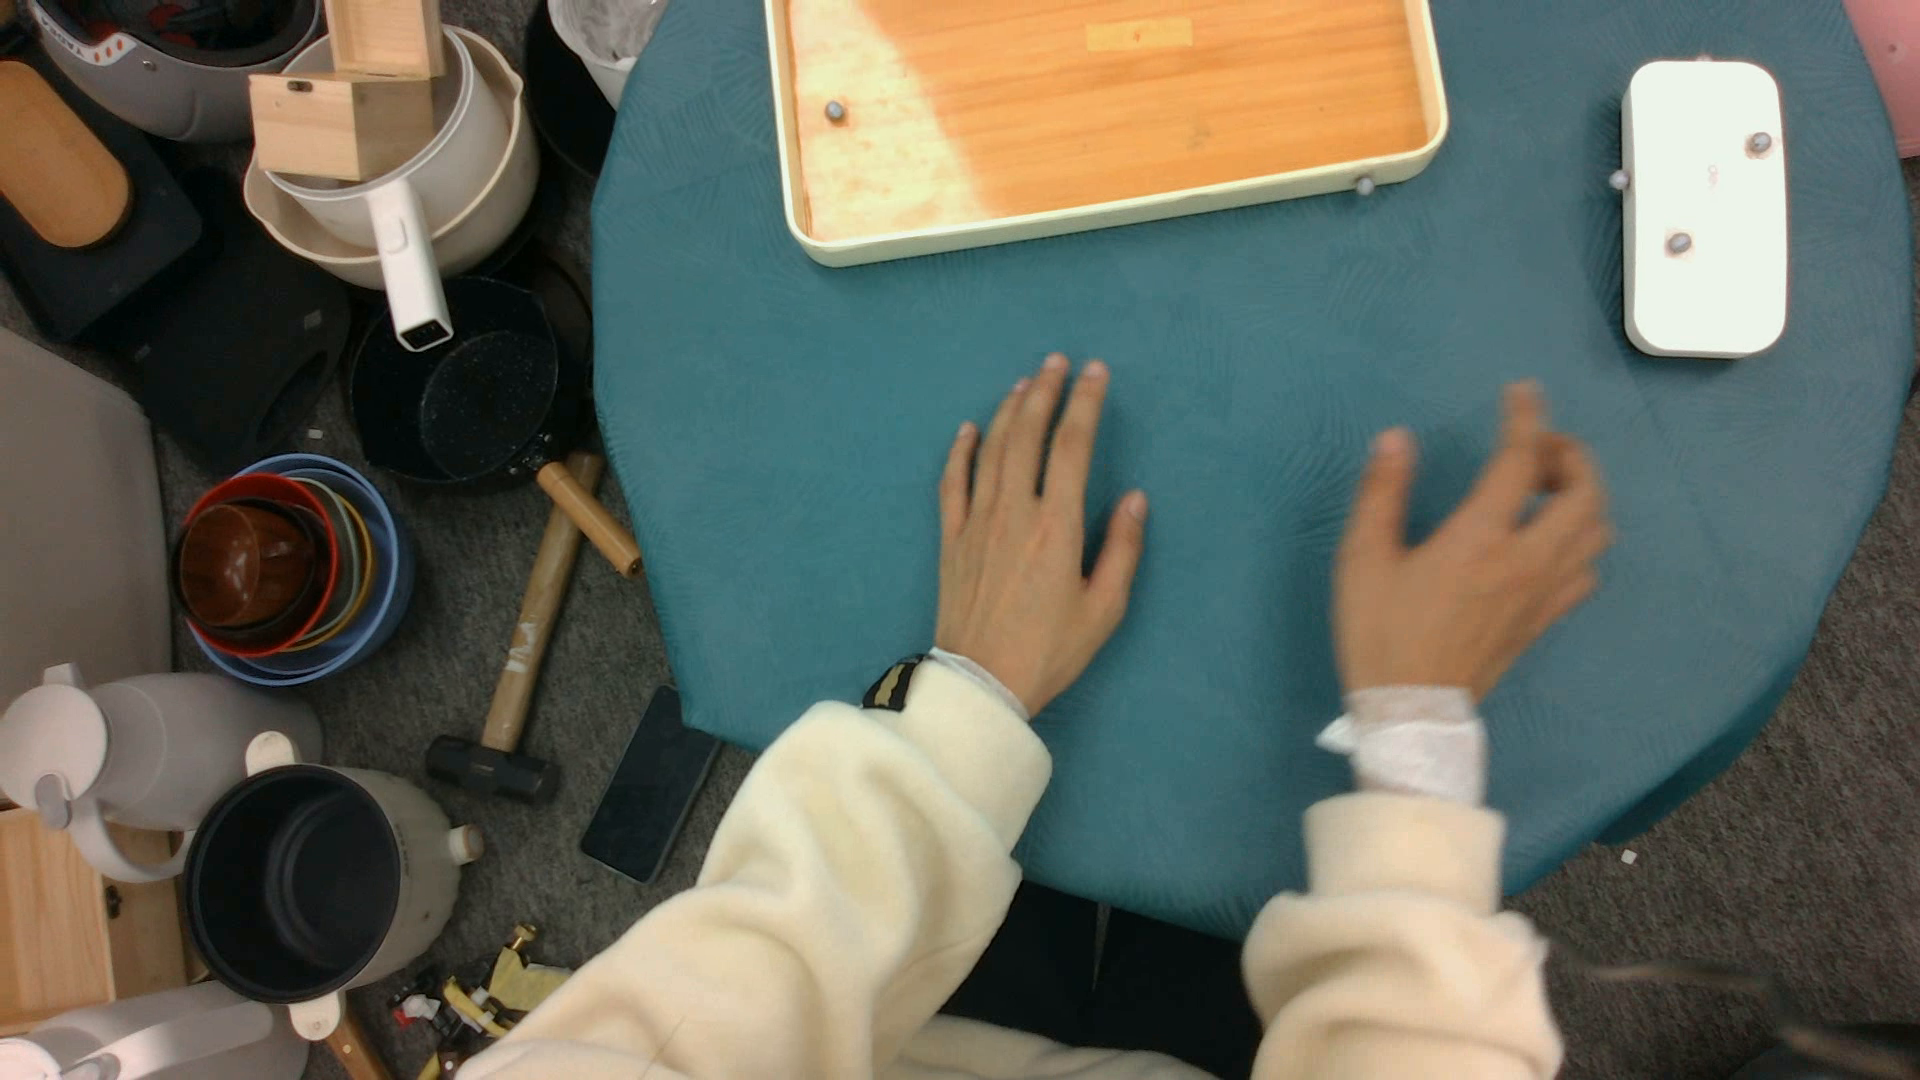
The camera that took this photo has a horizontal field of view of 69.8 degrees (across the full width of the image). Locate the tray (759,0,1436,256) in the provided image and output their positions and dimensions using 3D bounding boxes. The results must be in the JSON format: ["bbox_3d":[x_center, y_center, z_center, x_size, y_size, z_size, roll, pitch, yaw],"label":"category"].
[{"bbox_3d":[0.056,-0.244,0.649,0.300,0.027,0.192,-7,79,5],"label":"tray"}]

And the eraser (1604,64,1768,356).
[{"bbox_3d":[0.314,-0.145,0.602,0.063,0.034,0.131,4,79,7],"label":"eraser"}]
